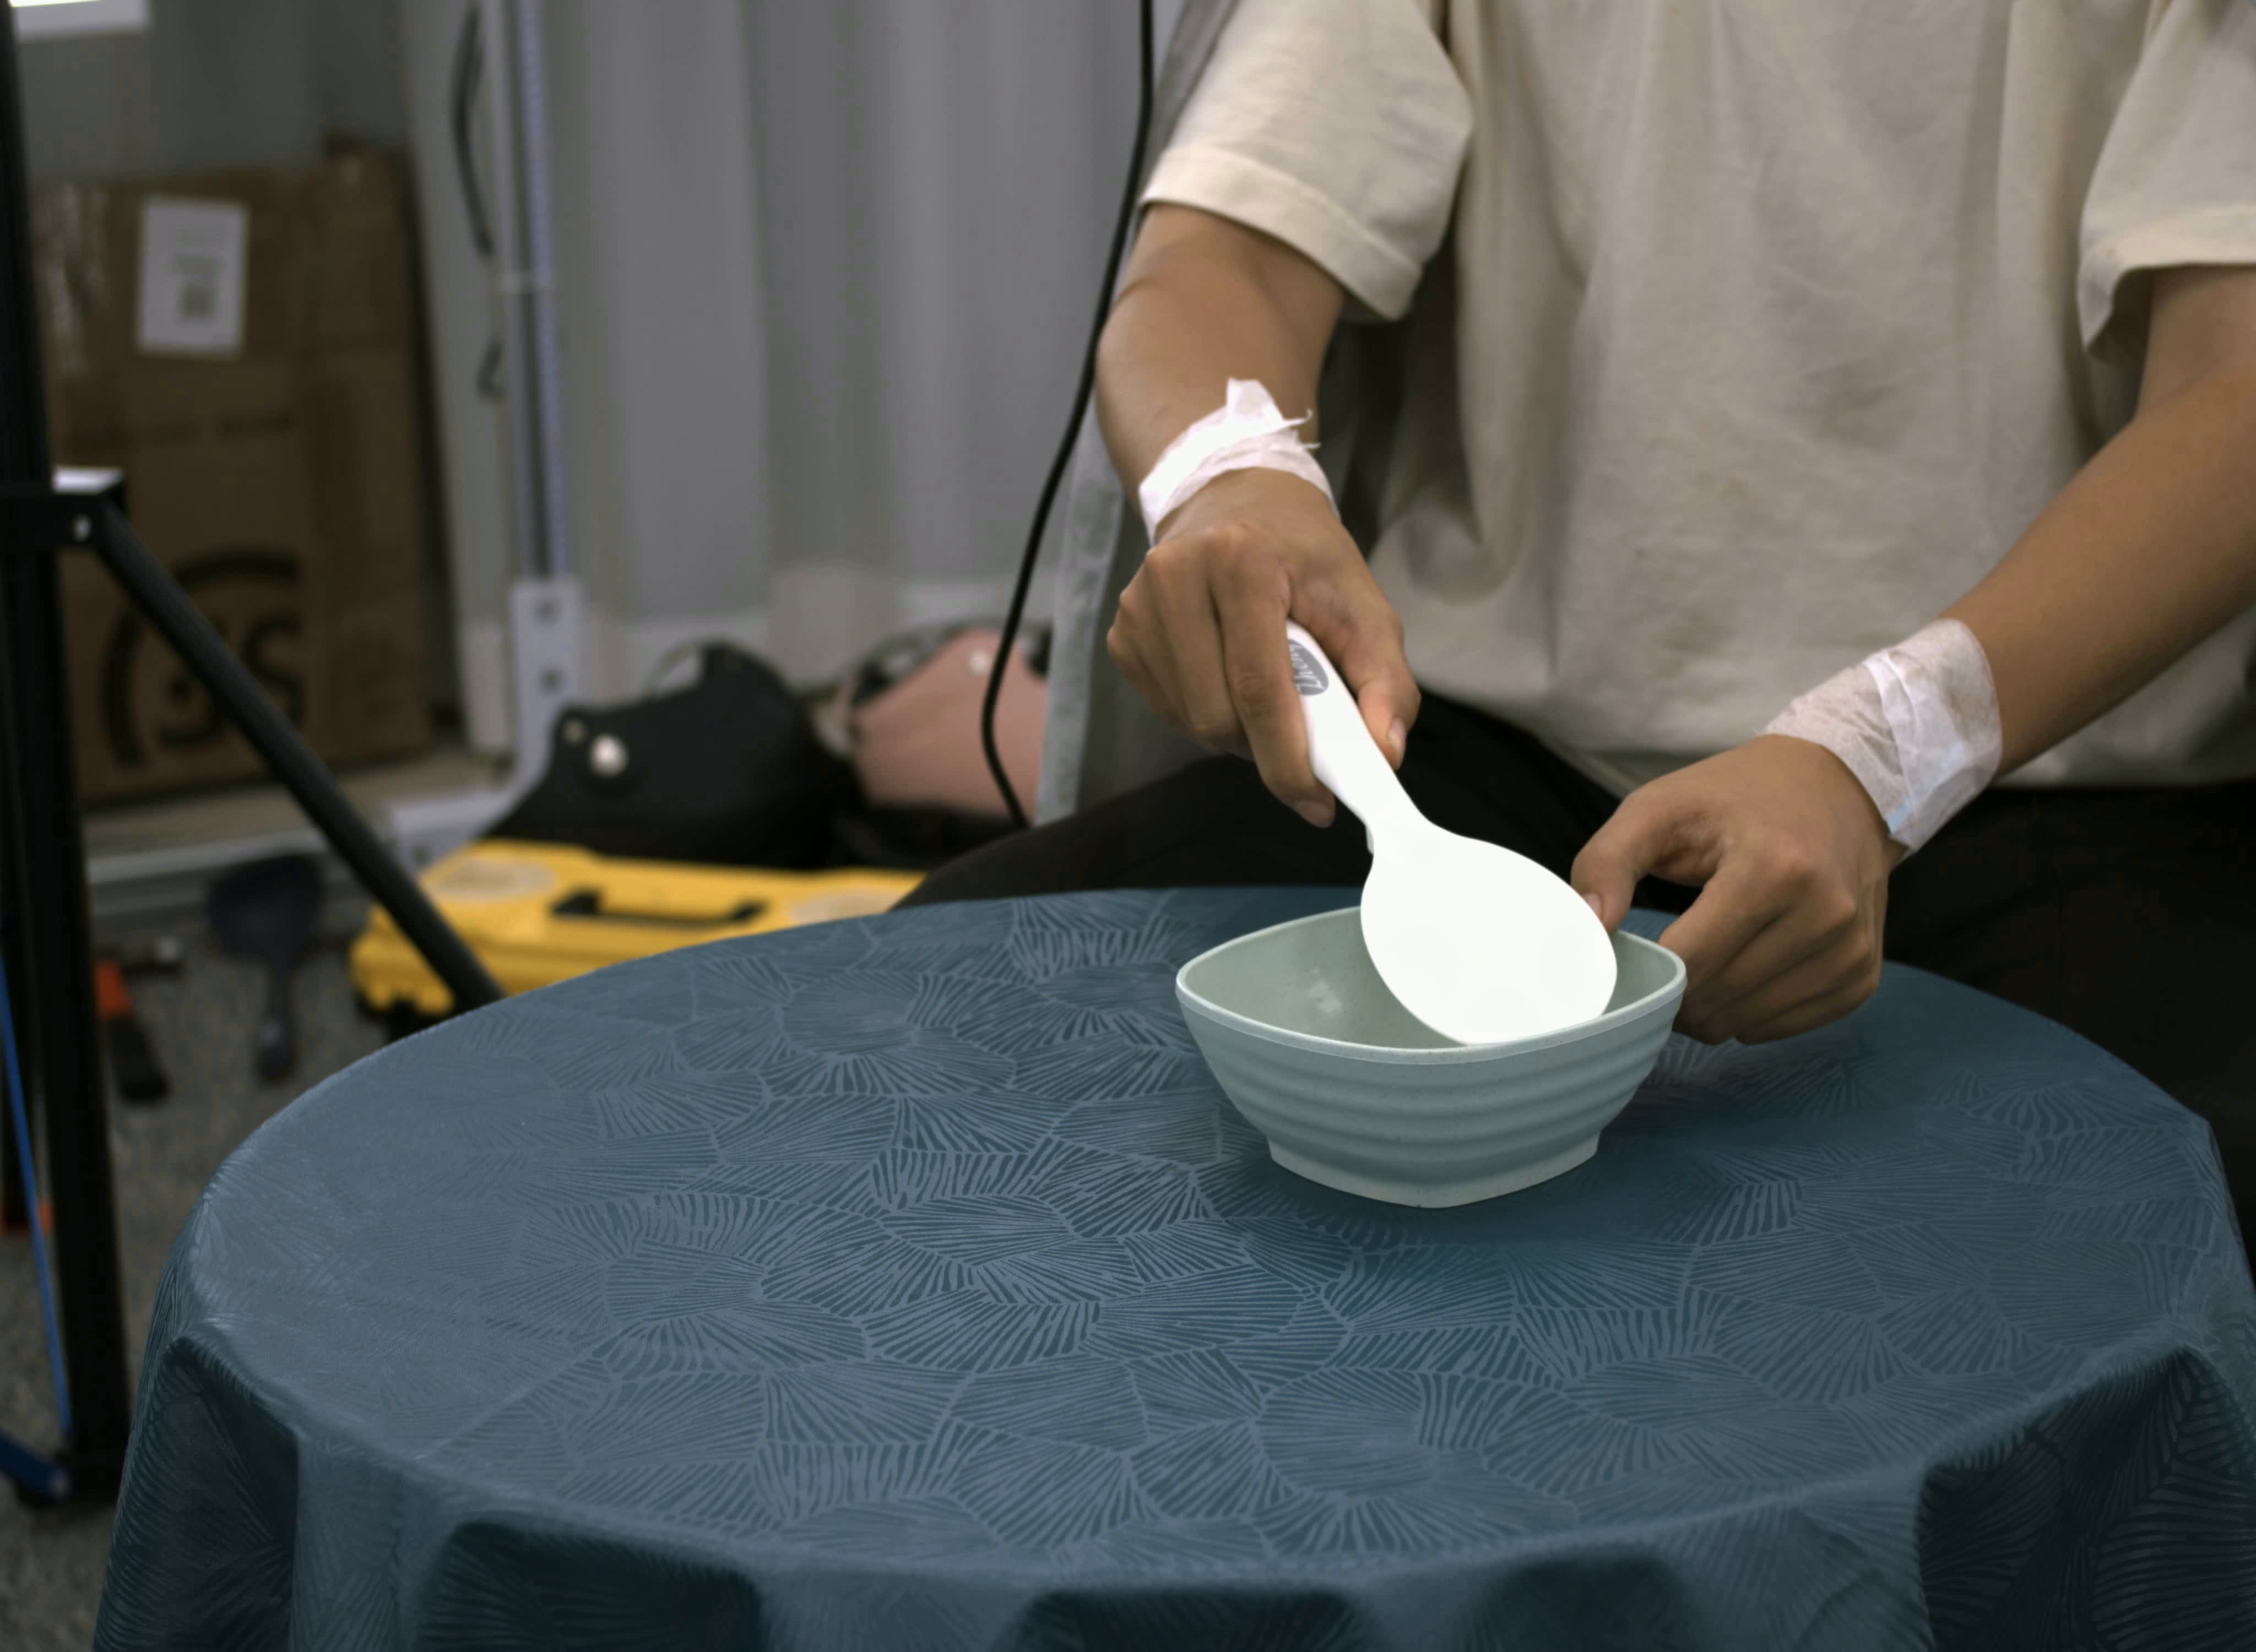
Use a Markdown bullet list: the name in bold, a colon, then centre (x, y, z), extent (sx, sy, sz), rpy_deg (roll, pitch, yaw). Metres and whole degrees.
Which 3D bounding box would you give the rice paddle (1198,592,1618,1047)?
- **rice paddle**: centre (0.082, -0.001, 1.610), extent (0.068, 0.029, 0.209), rpy_deg (-22, 45, -15)

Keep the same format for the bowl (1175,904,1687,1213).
- **bowl**: centre (0.091, 0.071, 1.569), extent (0.151, 0.058, 0.152), rpy_deg (-5, 17, 0)
